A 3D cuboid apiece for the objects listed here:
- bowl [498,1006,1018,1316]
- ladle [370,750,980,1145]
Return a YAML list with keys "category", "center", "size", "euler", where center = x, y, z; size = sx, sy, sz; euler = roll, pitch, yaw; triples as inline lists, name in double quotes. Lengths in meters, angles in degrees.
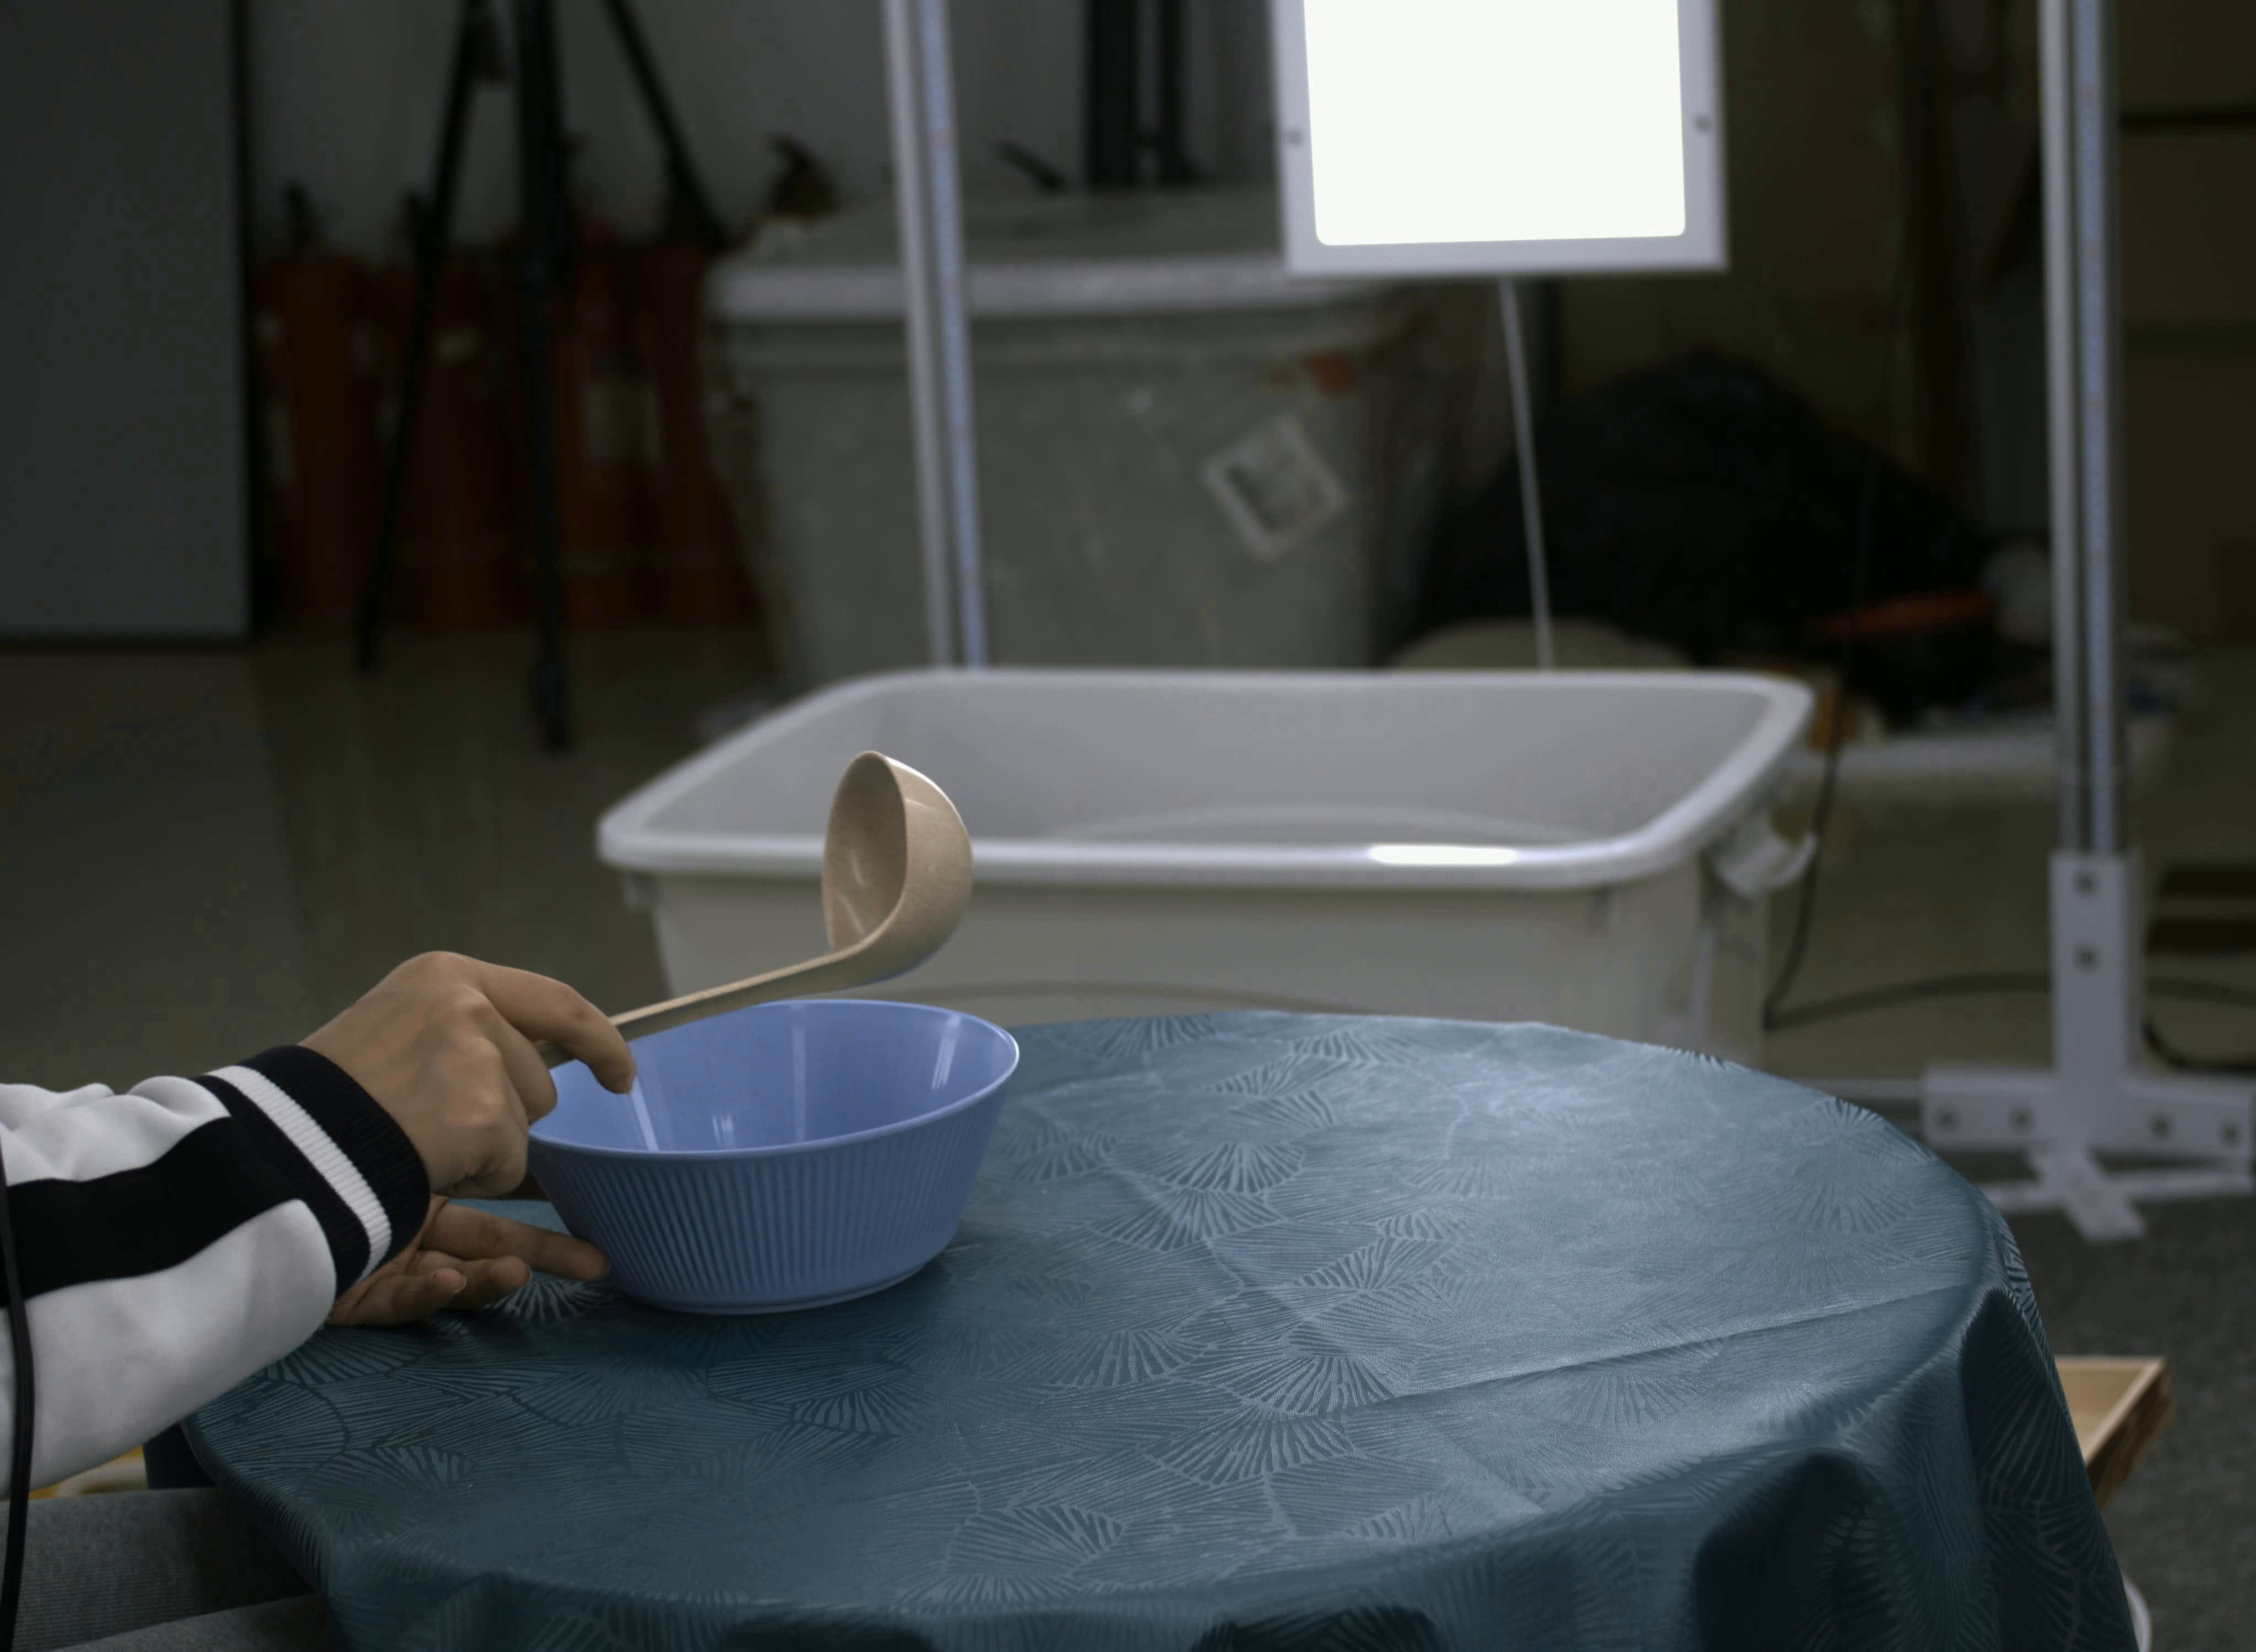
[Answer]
- category: "bowl"
  center: [-0.121, 0.115, 1.845]
  size: [0.175, 0.070, 0.176]
  euler: [-5, 13, 0]
- category: "ladle"
  center: [-0.150, 0.036, 1.698]
  size: [0.248, 0.073, 0.073]
  euler: [-18, 58, -40]
